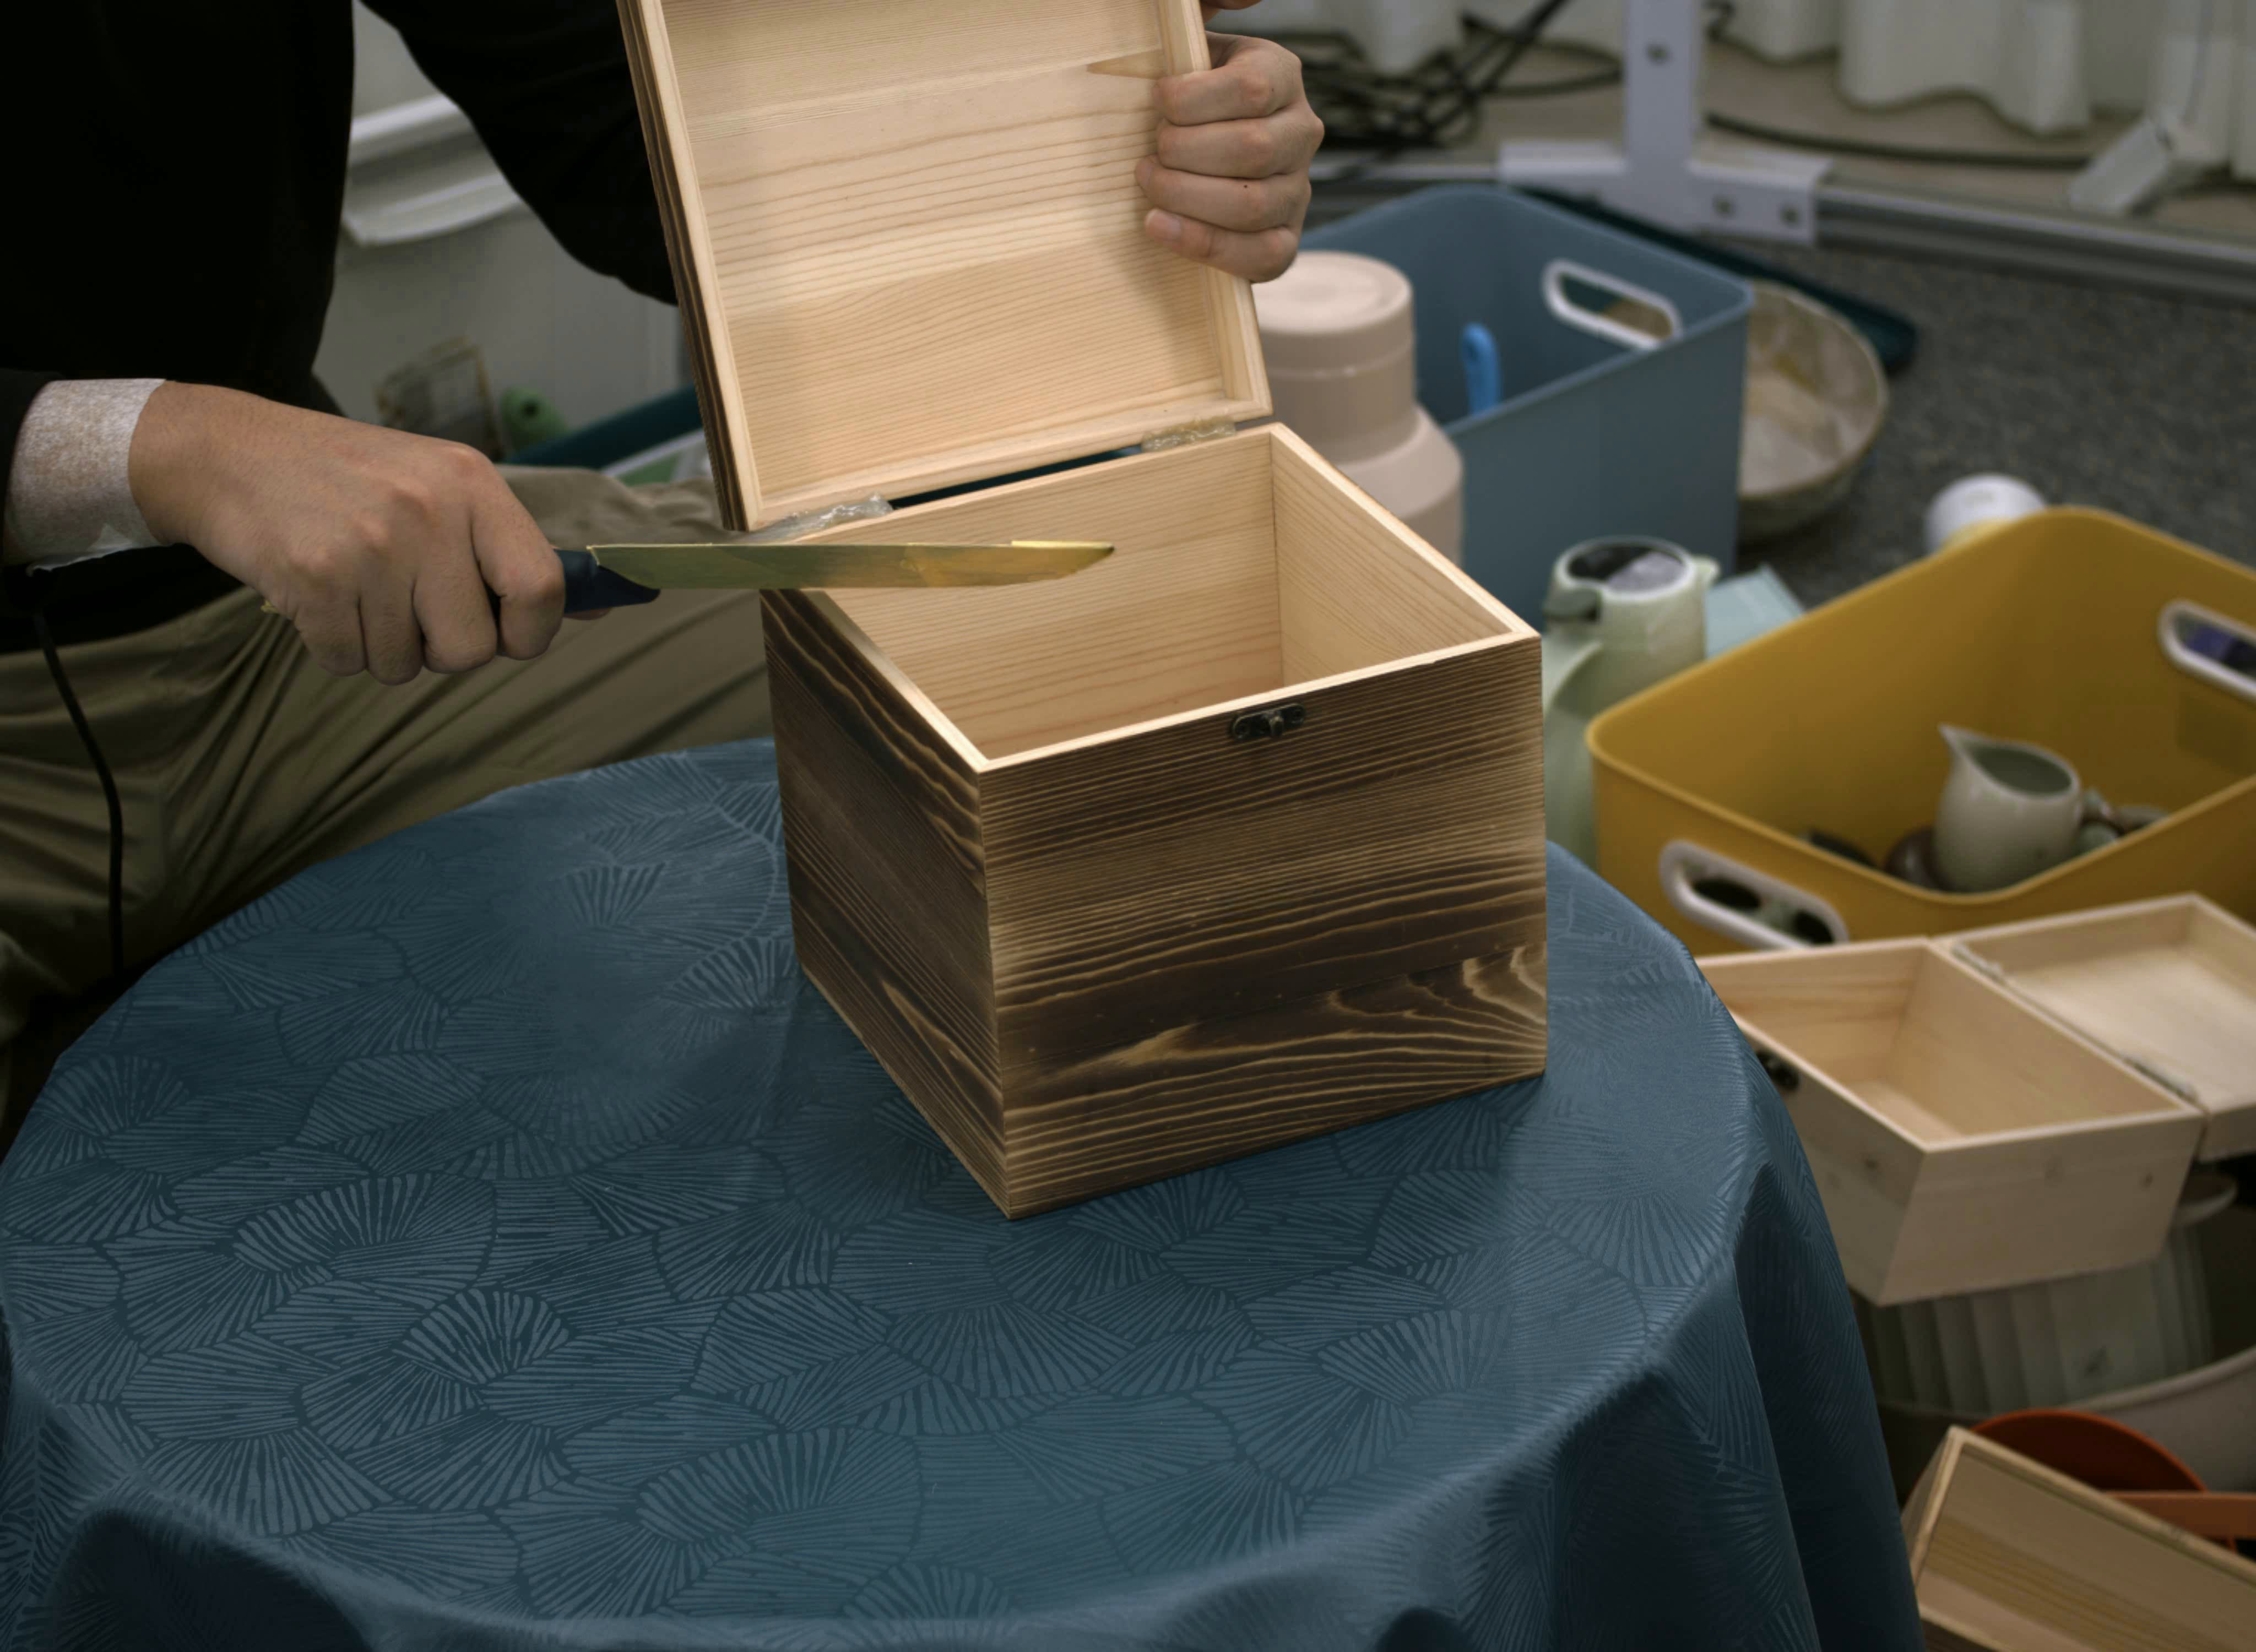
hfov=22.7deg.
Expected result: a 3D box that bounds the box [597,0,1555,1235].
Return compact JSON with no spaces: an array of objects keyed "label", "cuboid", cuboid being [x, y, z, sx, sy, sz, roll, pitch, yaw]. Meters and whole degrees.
[{"label":"box","cuboid":[-0.021,-0.110,1.928,0.209,0.372,0.324,-14,27,-20]}]

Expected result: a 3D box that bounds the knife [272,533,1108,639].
[{"label":"knife","cuboid":[-0.148,-0.084,1.870,0.287,0.027,0.080,-3,-12,7]}]
